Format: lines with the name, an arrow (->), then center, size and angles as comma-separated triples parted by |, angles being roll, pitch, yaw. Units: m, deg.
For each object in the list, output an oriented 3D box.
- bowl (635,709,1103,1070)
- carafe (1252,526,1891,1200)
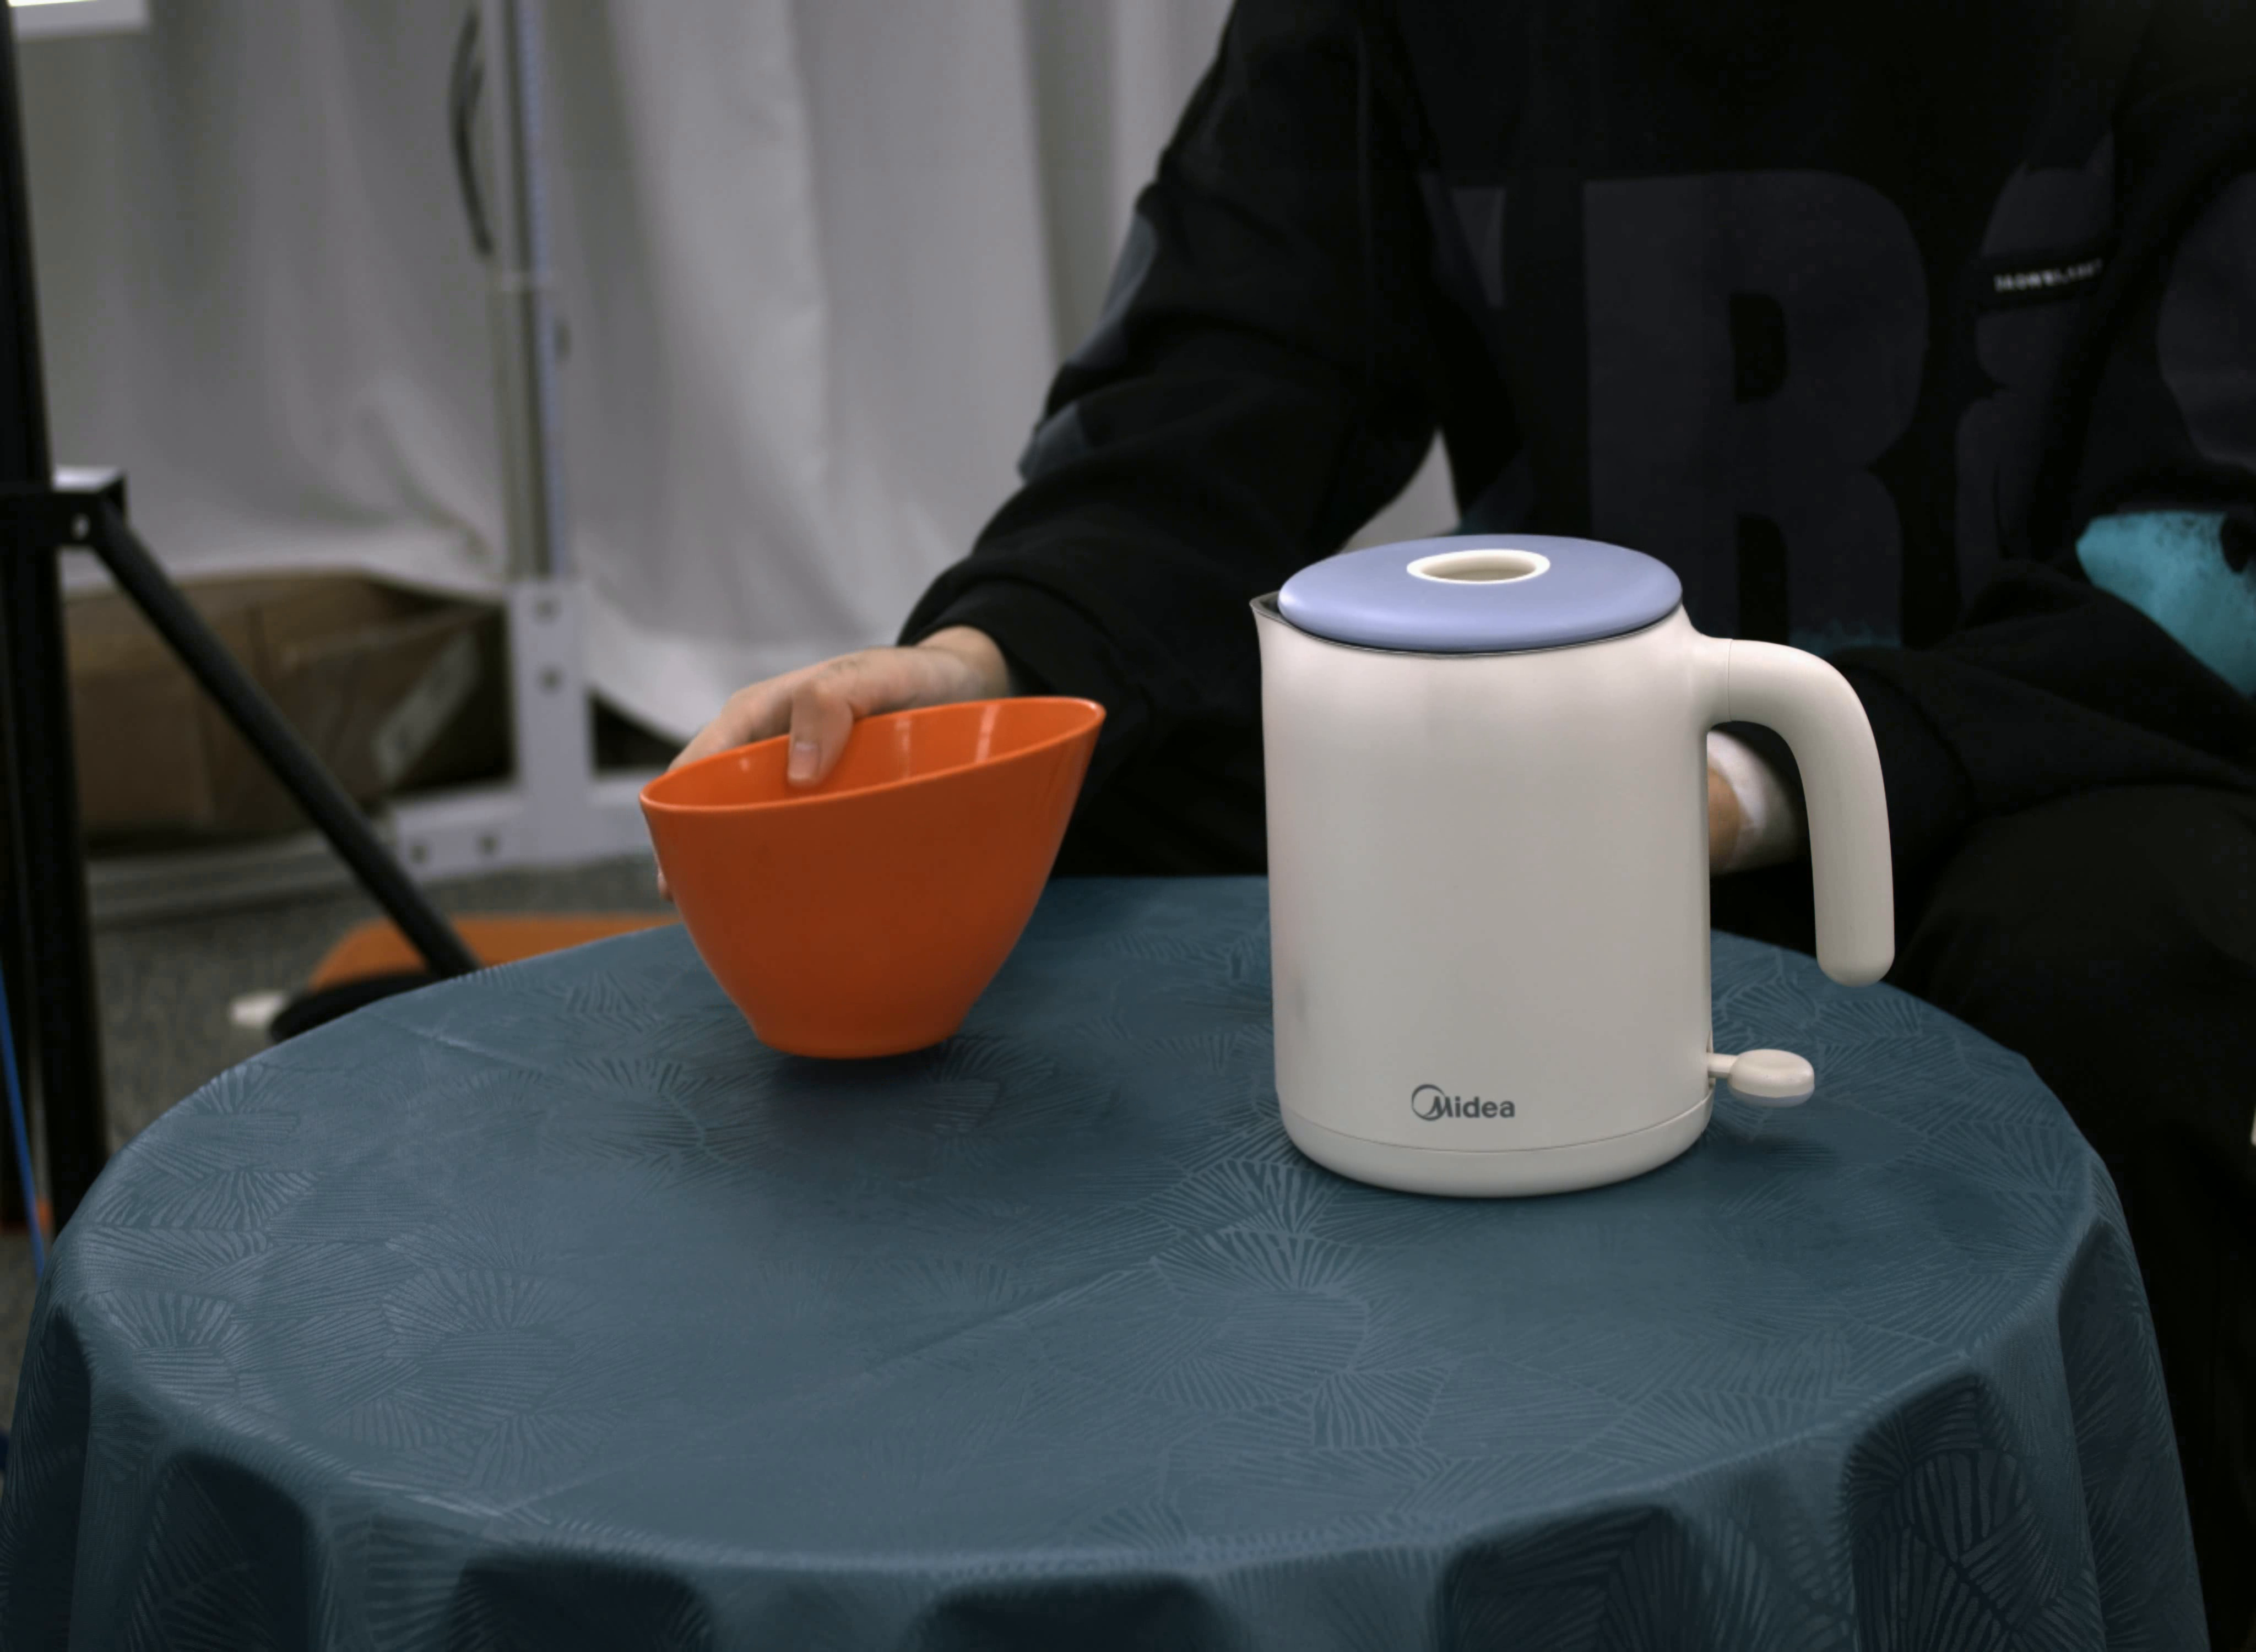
bowl -> -0.080, 0.019, 1.672 | 0.147, 0.104, 0.149 | -2, 16, -1
carafe -> 0.130, 0.012, 1.565 | 0.192, 0.182, 0.131 | 3, 17, 11
